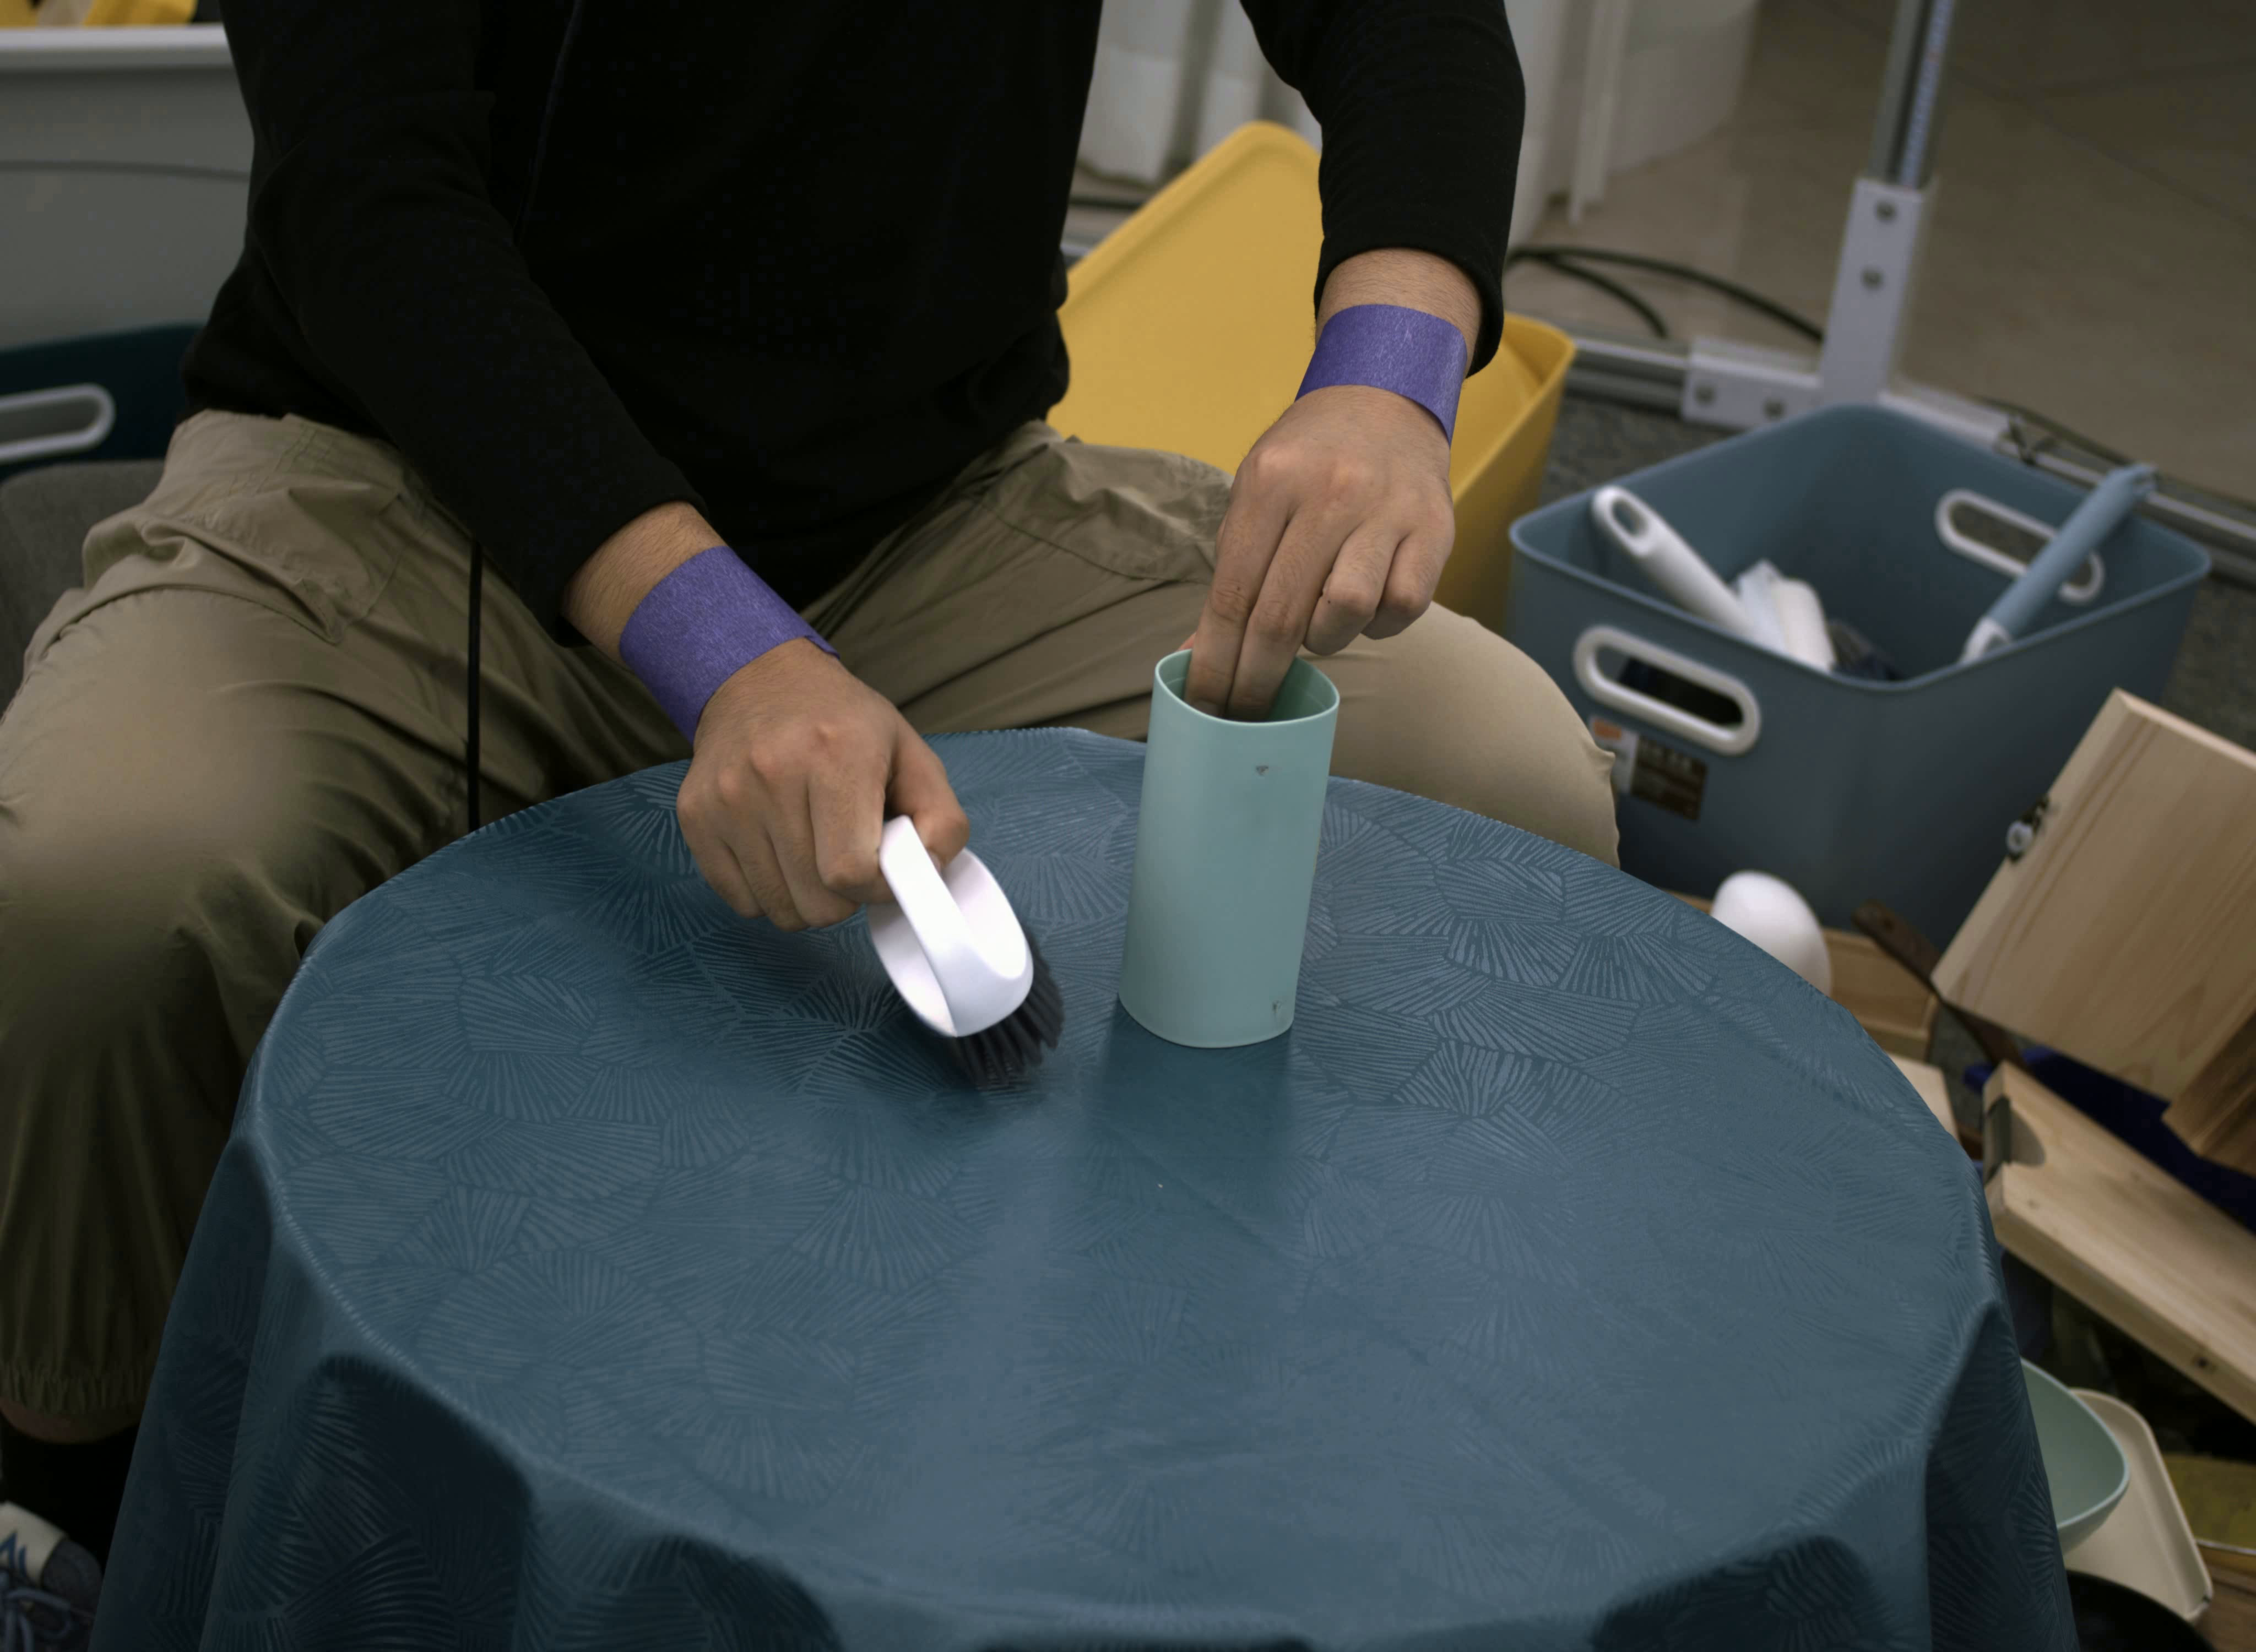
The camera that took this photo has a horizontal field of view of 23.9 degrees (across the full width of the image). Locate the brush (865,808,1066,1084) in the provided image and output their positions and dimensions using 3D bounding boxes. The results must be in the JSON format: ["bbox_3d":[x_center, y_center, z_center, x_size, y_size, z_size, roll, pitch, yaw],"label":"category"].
[{"bbox_3d":[-0.065,0.034,1.866,0.050,0.072,0.100,-30,38,3],"label":"brush"}]

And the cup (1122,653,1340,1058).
[{"bbox_3d":[0.034,0.011,1.895,0.066,0.132,0.067,5,27,-3],"label":"cup"}]
